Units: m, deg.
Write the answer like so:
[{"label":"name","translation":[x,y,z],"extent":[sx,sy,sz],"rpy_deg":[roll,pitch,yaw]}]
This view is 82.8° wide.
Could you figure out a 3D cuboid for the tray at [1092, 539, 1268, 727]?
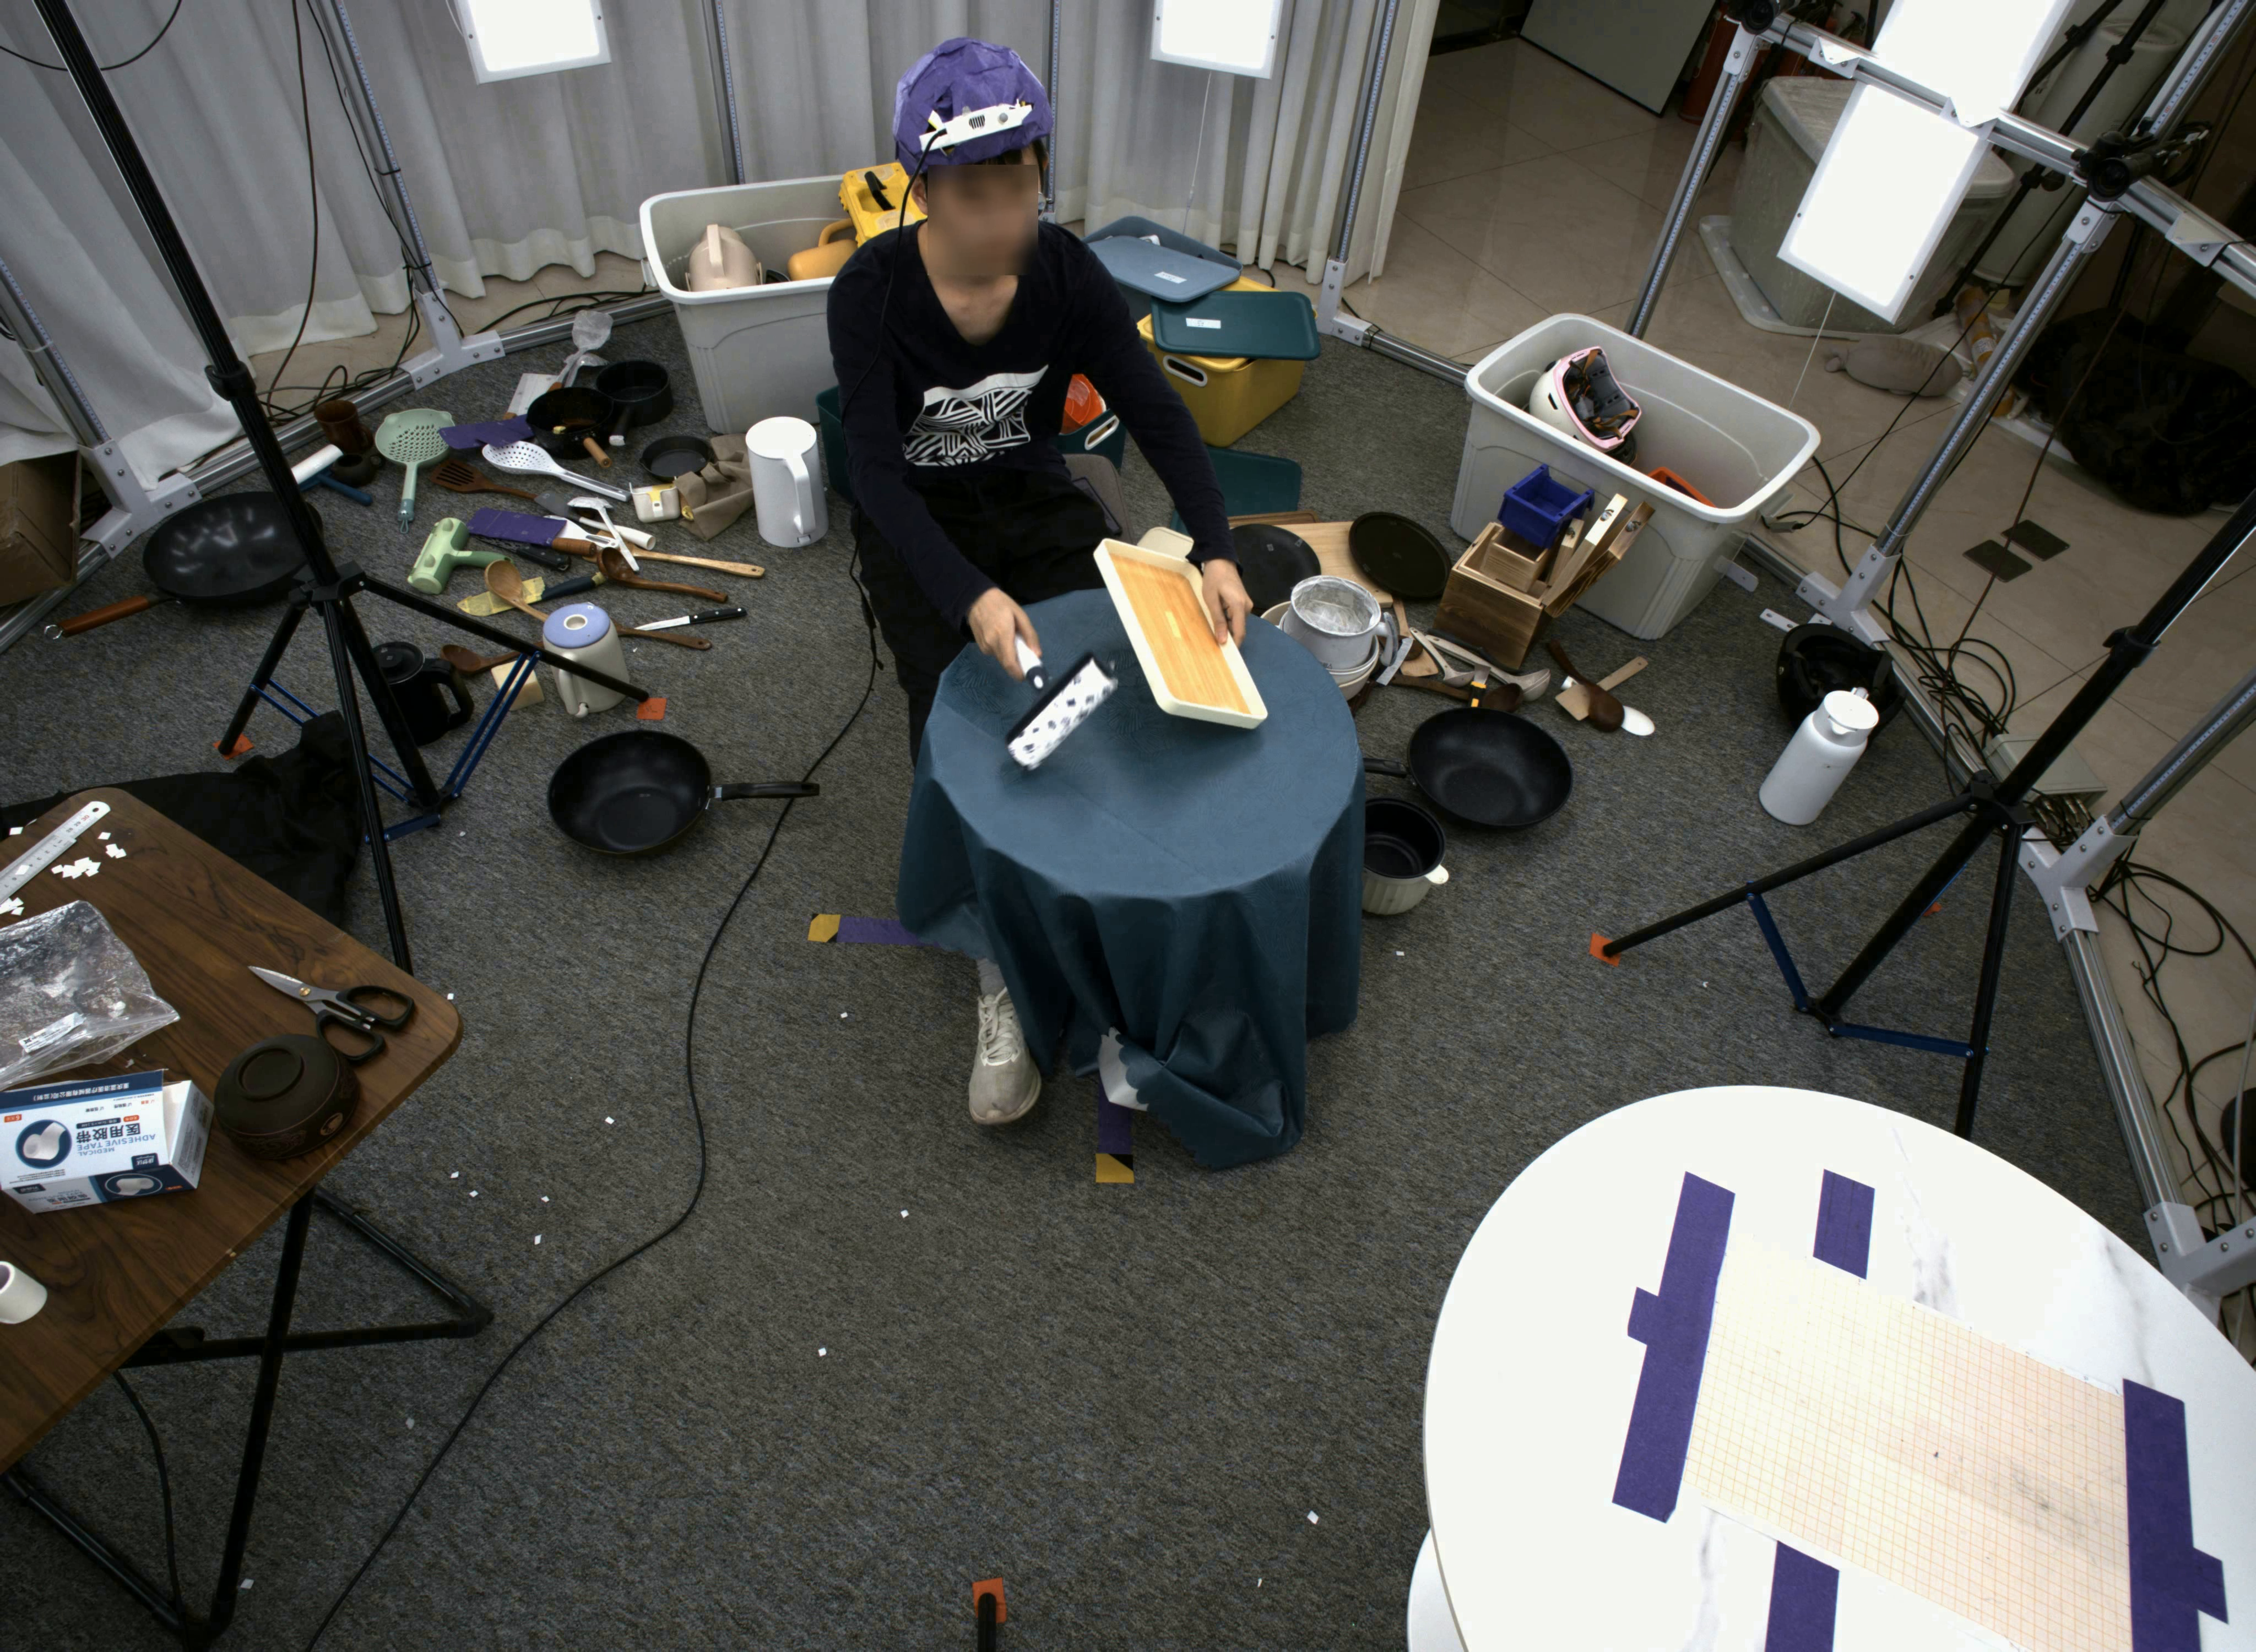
[{"label":"tray","translation":[0.071,-0.270,1.795],"extent":[0.190,0.027,0.307],"rpy_deg":[5,51,-37]}]

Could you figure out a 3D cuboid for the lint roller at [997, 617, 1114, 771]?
[{"label":"lint roller","translation":[-0.134,-0.208,1.745],"extent":[0.175,0.049,0.253],"rpy_deg":[-42,51,12]}]
